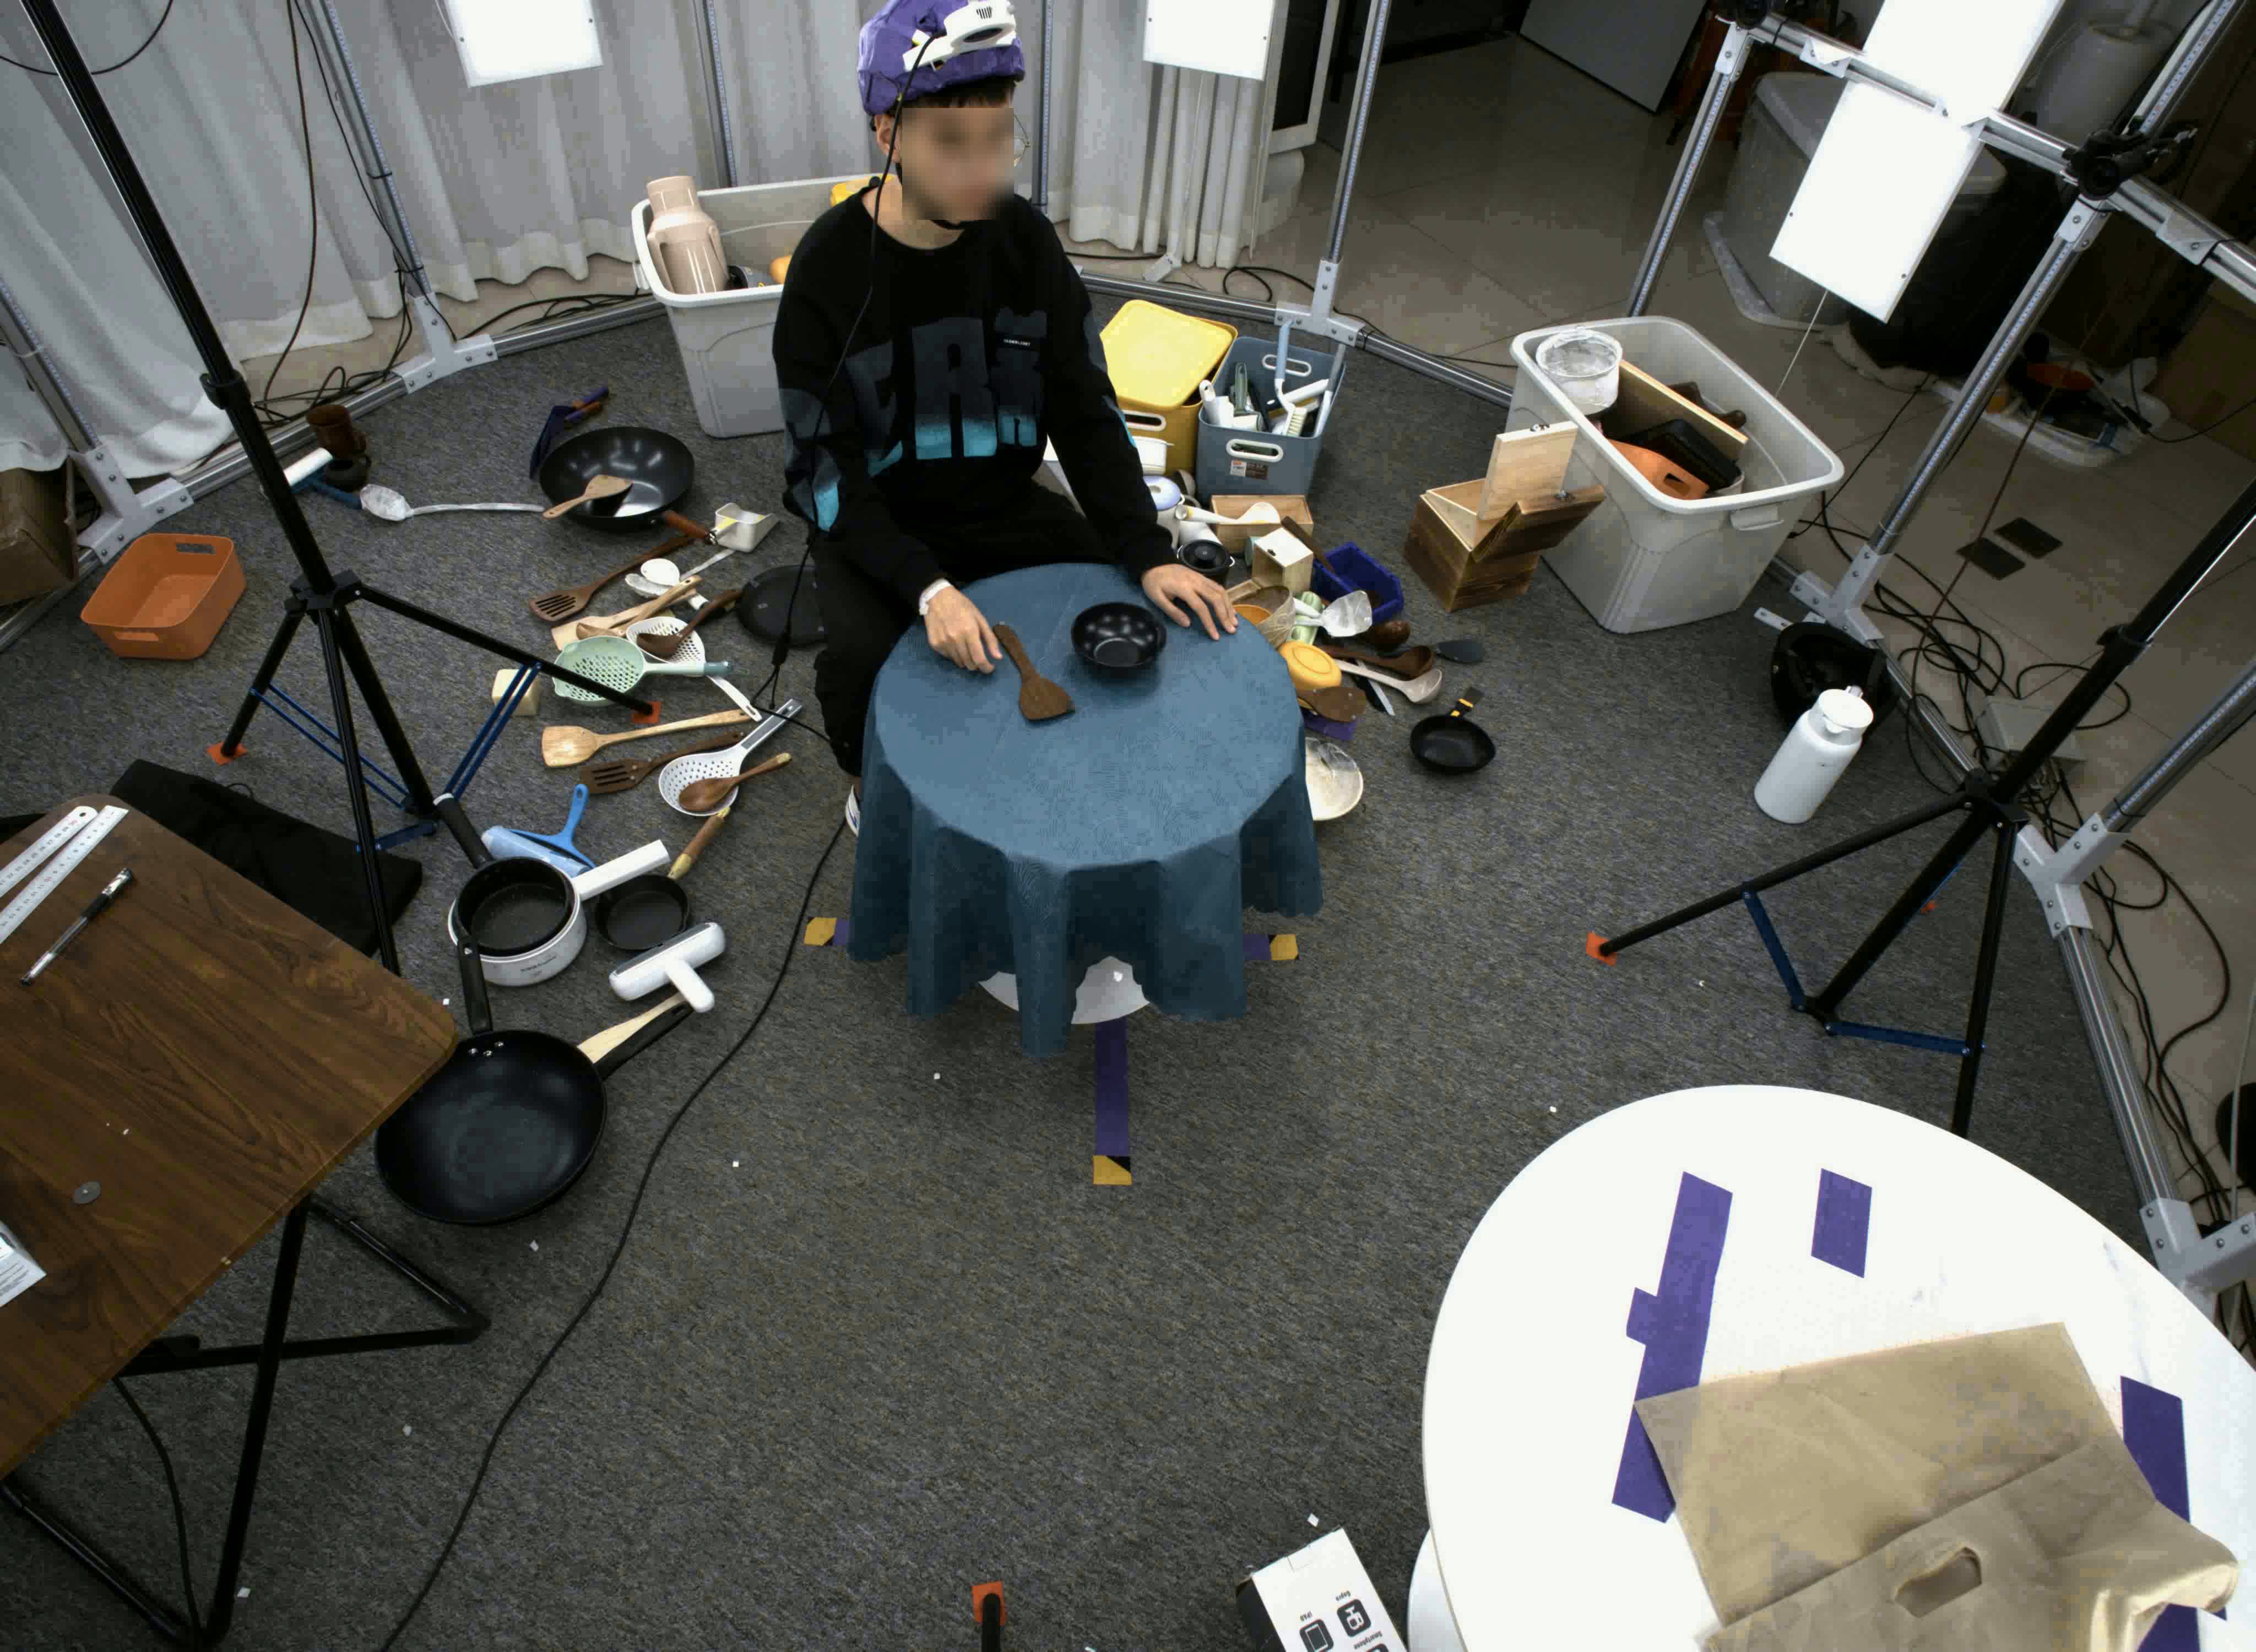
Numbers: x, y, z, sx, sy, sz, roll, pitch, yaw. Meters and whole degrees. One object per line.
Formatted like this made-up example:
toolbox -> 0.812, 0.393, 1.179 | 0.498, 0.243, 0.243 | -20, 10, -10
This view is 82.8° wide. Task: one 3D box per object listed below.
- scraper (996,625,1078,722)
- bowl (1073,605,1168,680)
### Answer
scraper -> -0.144, -0.225, 1.866 | 0.076, 0.010, 0.216 | -16, 51, -18
bowl -> -0.011, -0.261, 1.880 | 0.140, 0.048, 0.143 | 0, 49, 0
